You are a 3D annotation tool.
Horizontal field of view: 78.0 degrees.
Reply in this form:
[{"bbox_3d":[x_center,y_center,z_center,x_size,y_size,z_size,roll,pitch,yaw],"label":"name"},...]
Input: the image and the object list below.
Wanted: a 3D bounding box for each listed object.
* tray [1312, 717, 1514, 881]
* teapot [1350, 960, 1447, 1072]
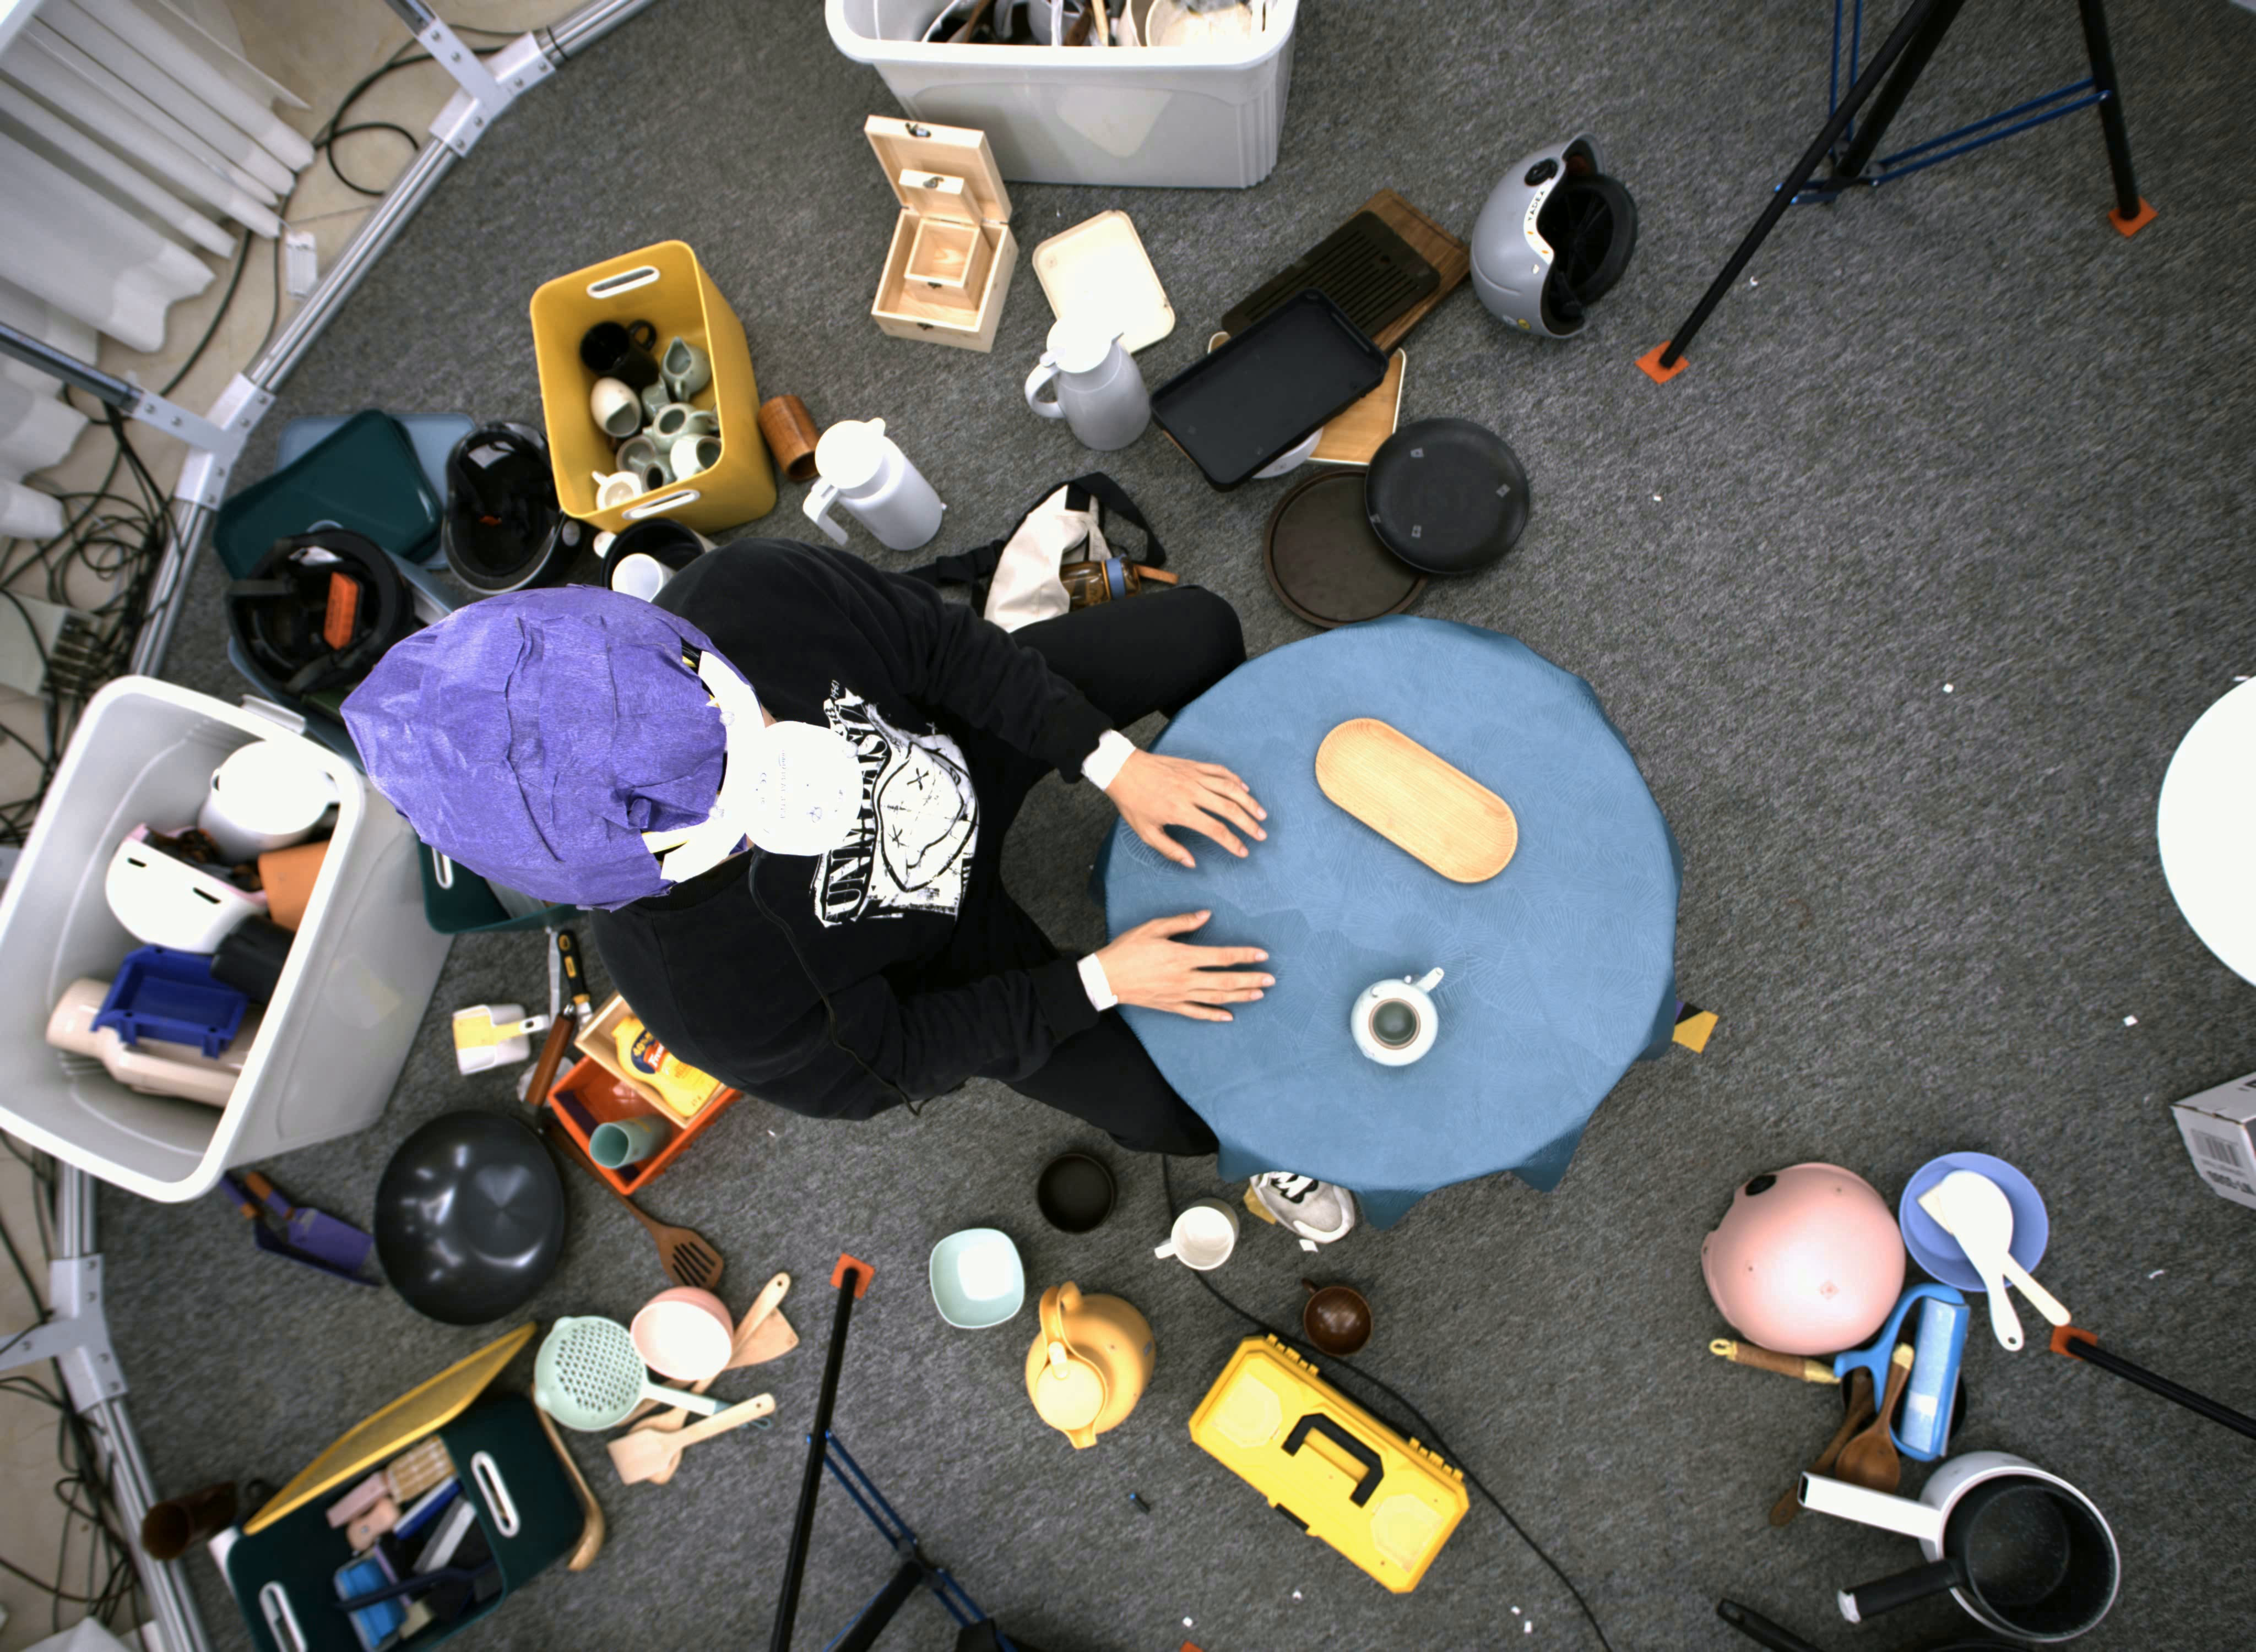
[{"bbox_3d":[0.300,-0.030,1.453,0.230,0.020,0.102,34,92,12],"label":"tray"},{"bbox_3d":[0.277,0.192,1.418,0.088,0.075,0.144,42,95,11],"label":"teapot"}]
